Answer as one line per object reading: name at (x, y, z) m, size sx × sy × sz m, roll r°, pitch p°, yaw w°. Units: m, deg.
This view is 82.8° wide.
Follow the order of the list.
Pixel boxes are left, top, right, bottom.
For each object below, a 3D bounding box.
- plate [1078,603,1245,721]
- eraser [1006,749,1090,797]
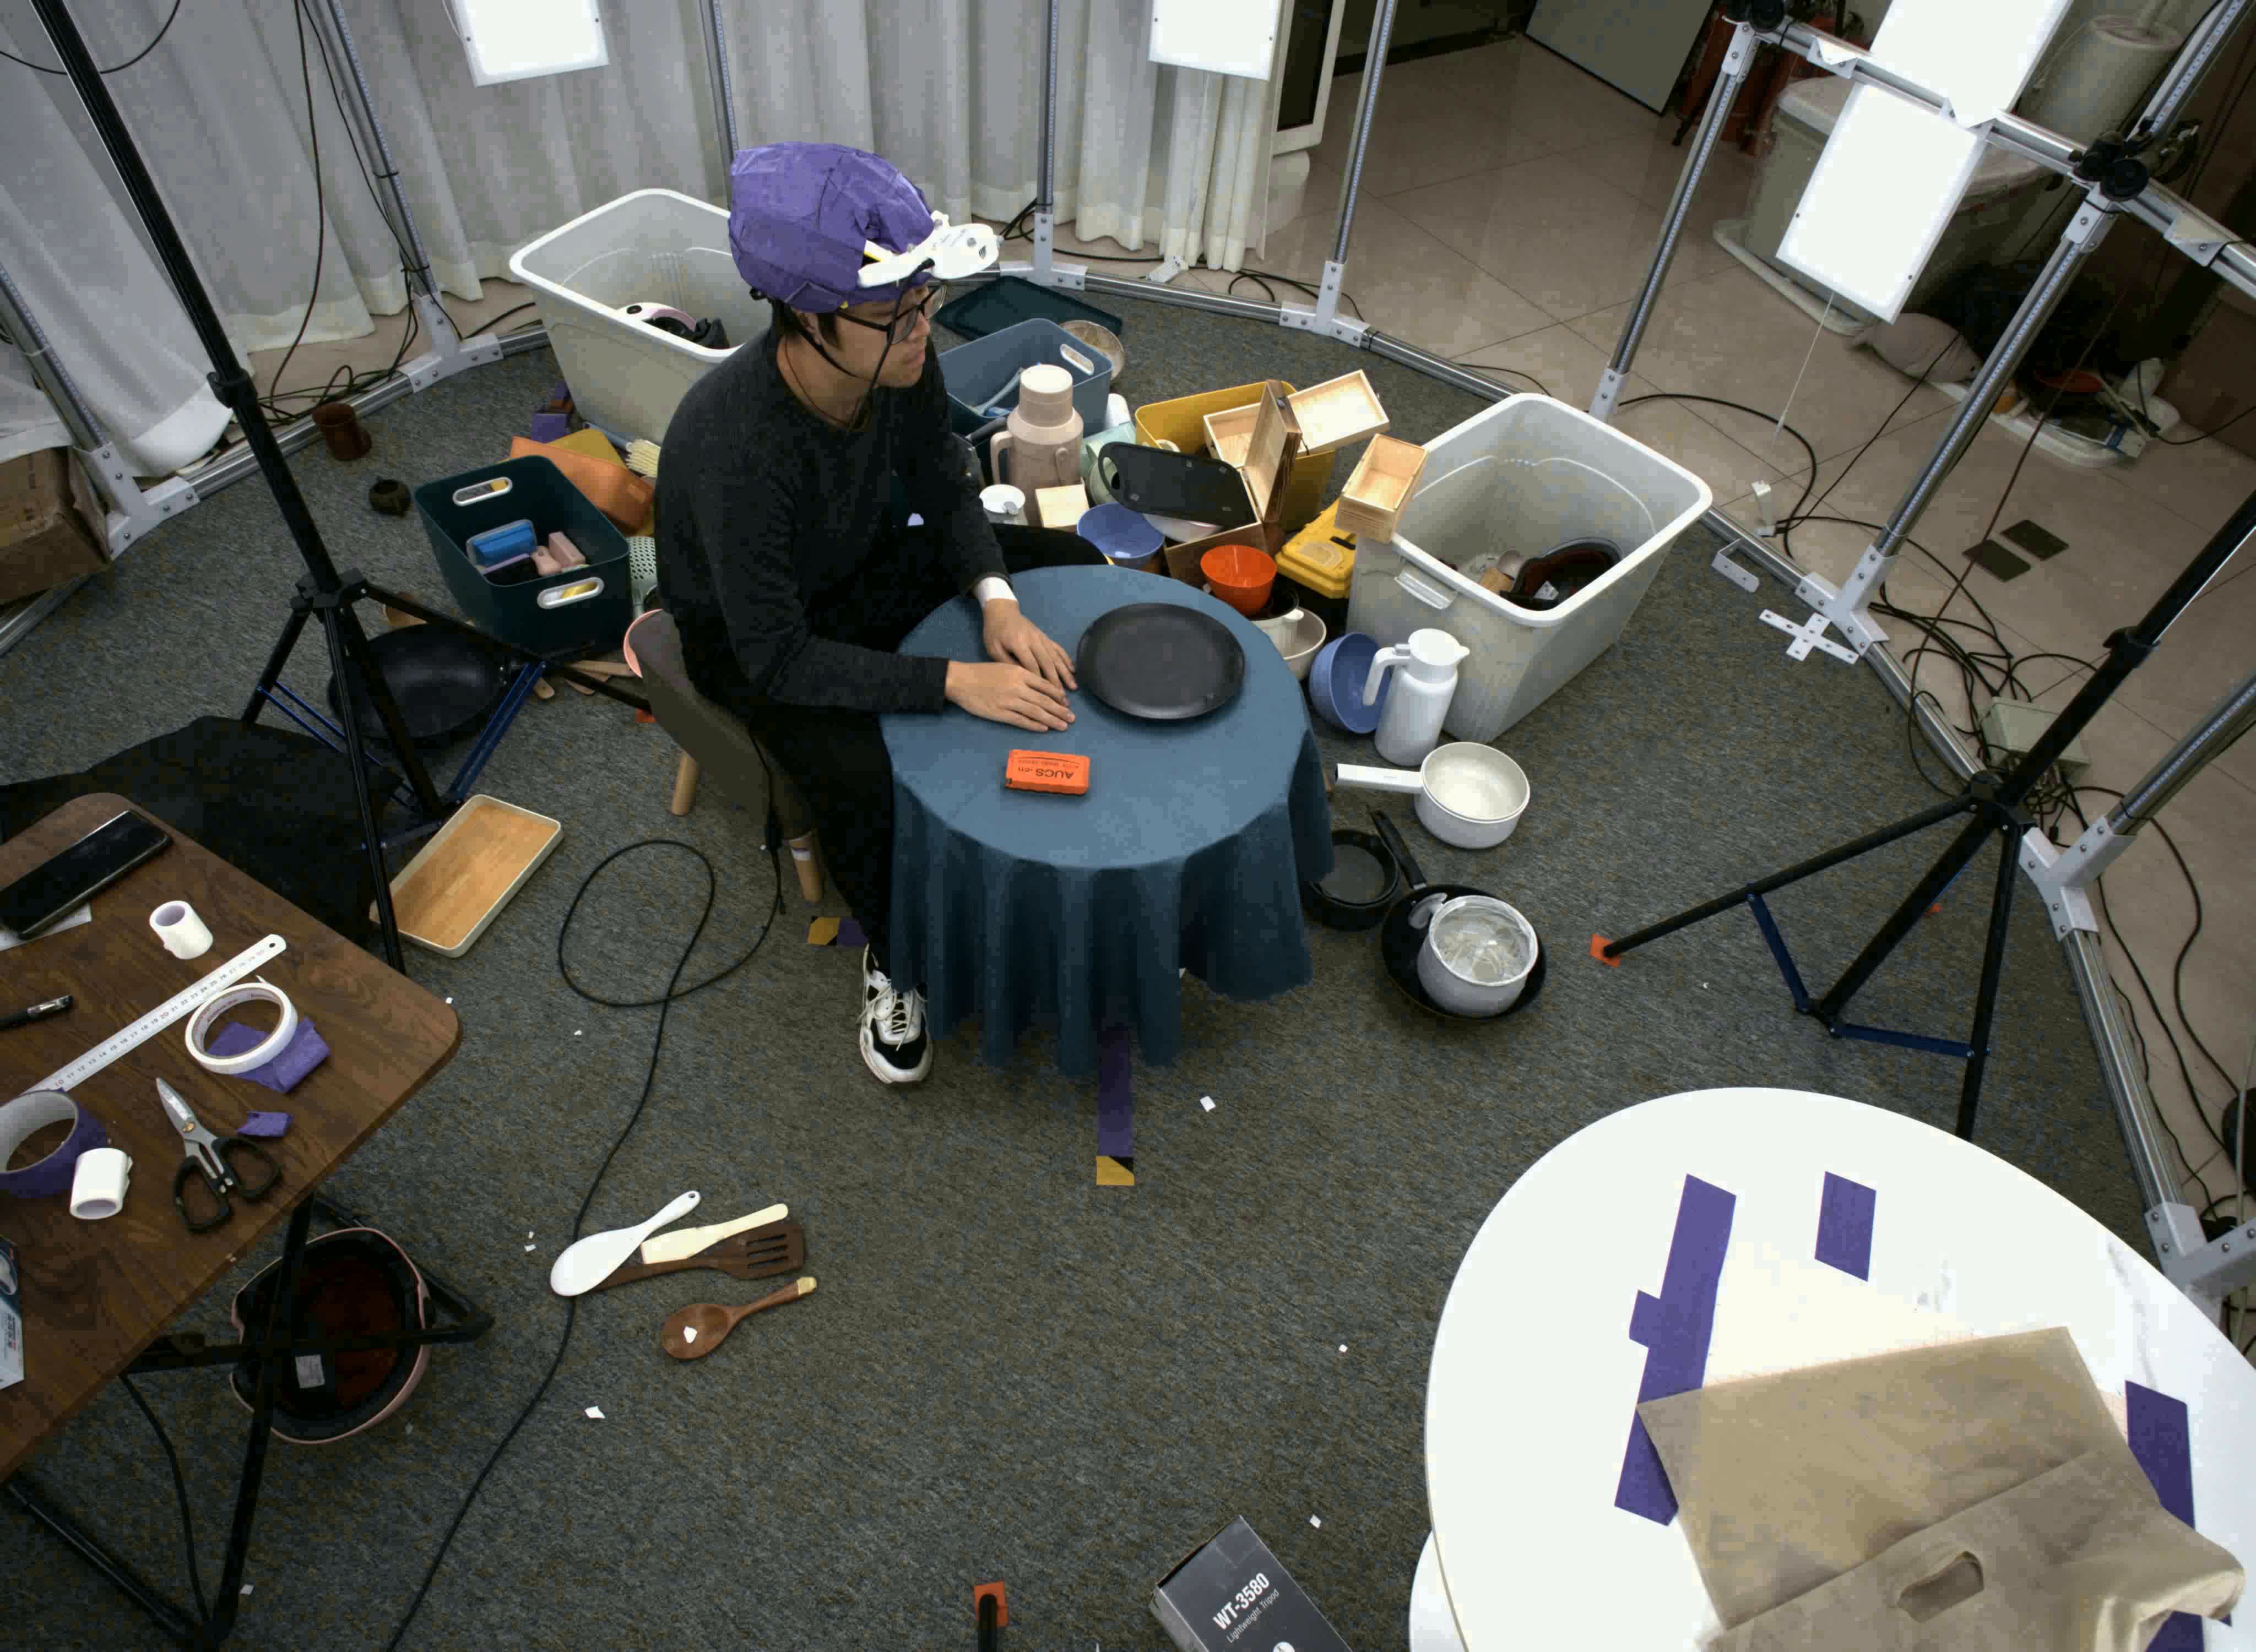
plate at (0.048, -0.237, 1.864) m, size 0.244 × 0.023 × 0.250 m, roll 2°, pitch 49°, yaw -2°
eraser at (-0.107, -0.071, 1.709) m, size 0.108 × 0.022 × 0.060 m, roll 6°, pitch 47°, yaw 2°
